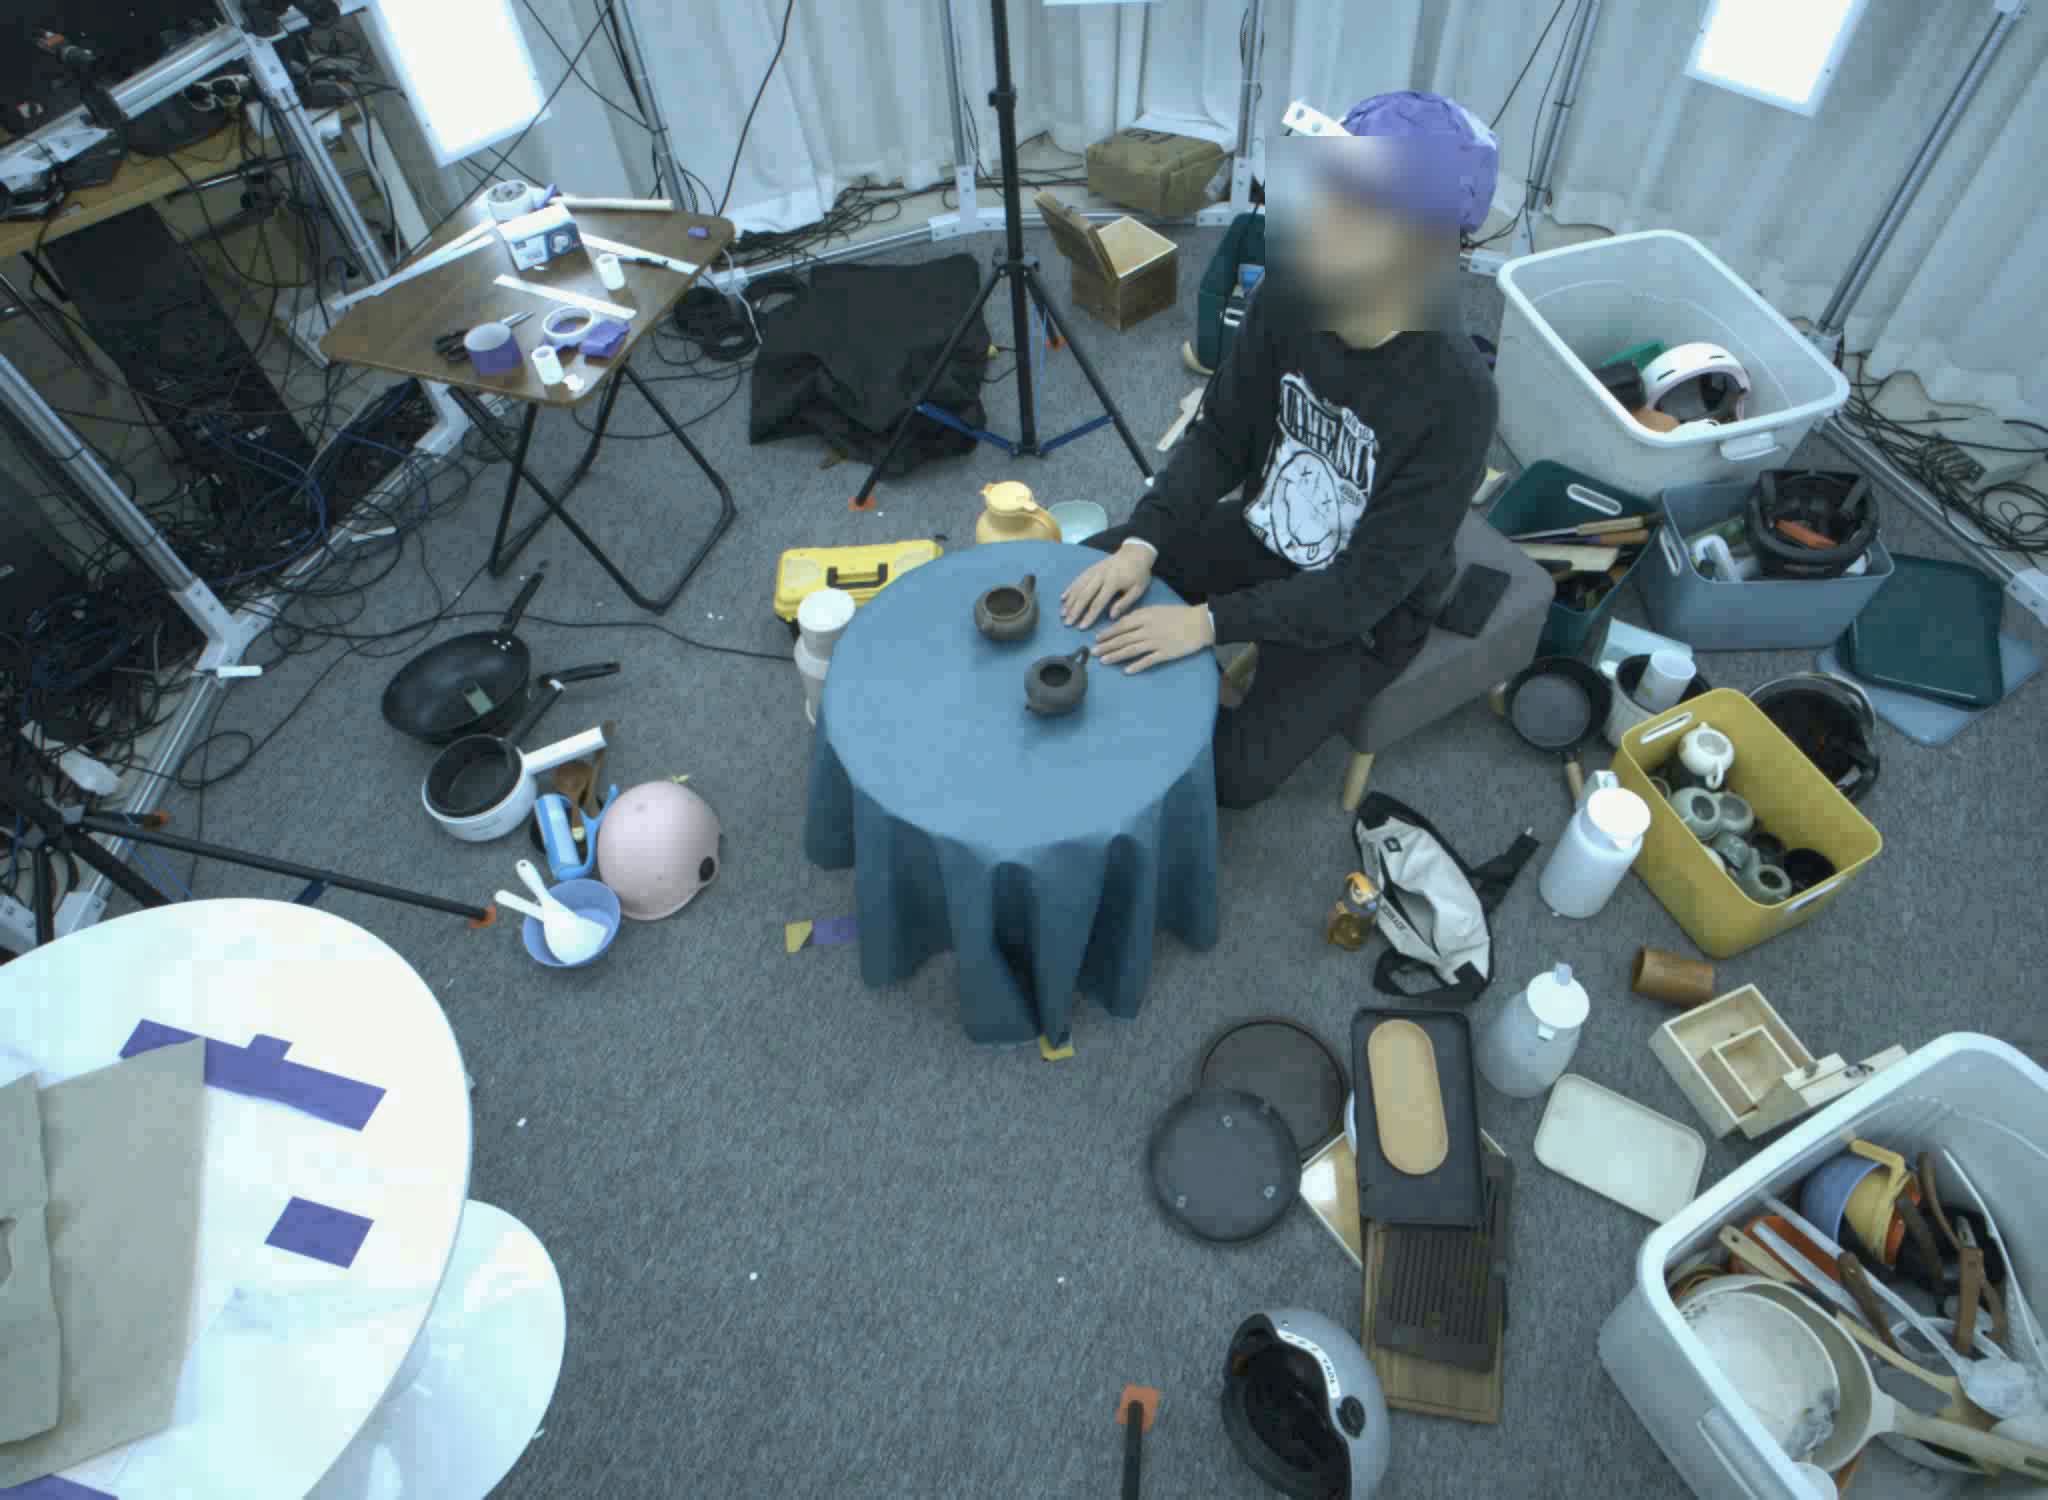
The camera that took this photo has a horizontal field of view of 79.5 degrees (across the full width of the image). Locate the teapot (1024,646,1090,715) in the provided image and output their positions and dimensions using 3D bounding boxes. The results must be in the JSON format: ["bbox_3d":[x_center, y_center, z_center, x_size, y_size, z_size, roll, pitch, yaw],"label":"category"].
[{"bbox_3d":[0.049,-0.099,1.813,0.091,0.065,0.155,32,62,21],"label":"teapot"}]

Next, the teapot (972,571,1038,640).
[{"bbox_3d":[-0.027,-0.220,1.908,0.101,0.054,0.153,22,59,14],"label":"teapot"}]
